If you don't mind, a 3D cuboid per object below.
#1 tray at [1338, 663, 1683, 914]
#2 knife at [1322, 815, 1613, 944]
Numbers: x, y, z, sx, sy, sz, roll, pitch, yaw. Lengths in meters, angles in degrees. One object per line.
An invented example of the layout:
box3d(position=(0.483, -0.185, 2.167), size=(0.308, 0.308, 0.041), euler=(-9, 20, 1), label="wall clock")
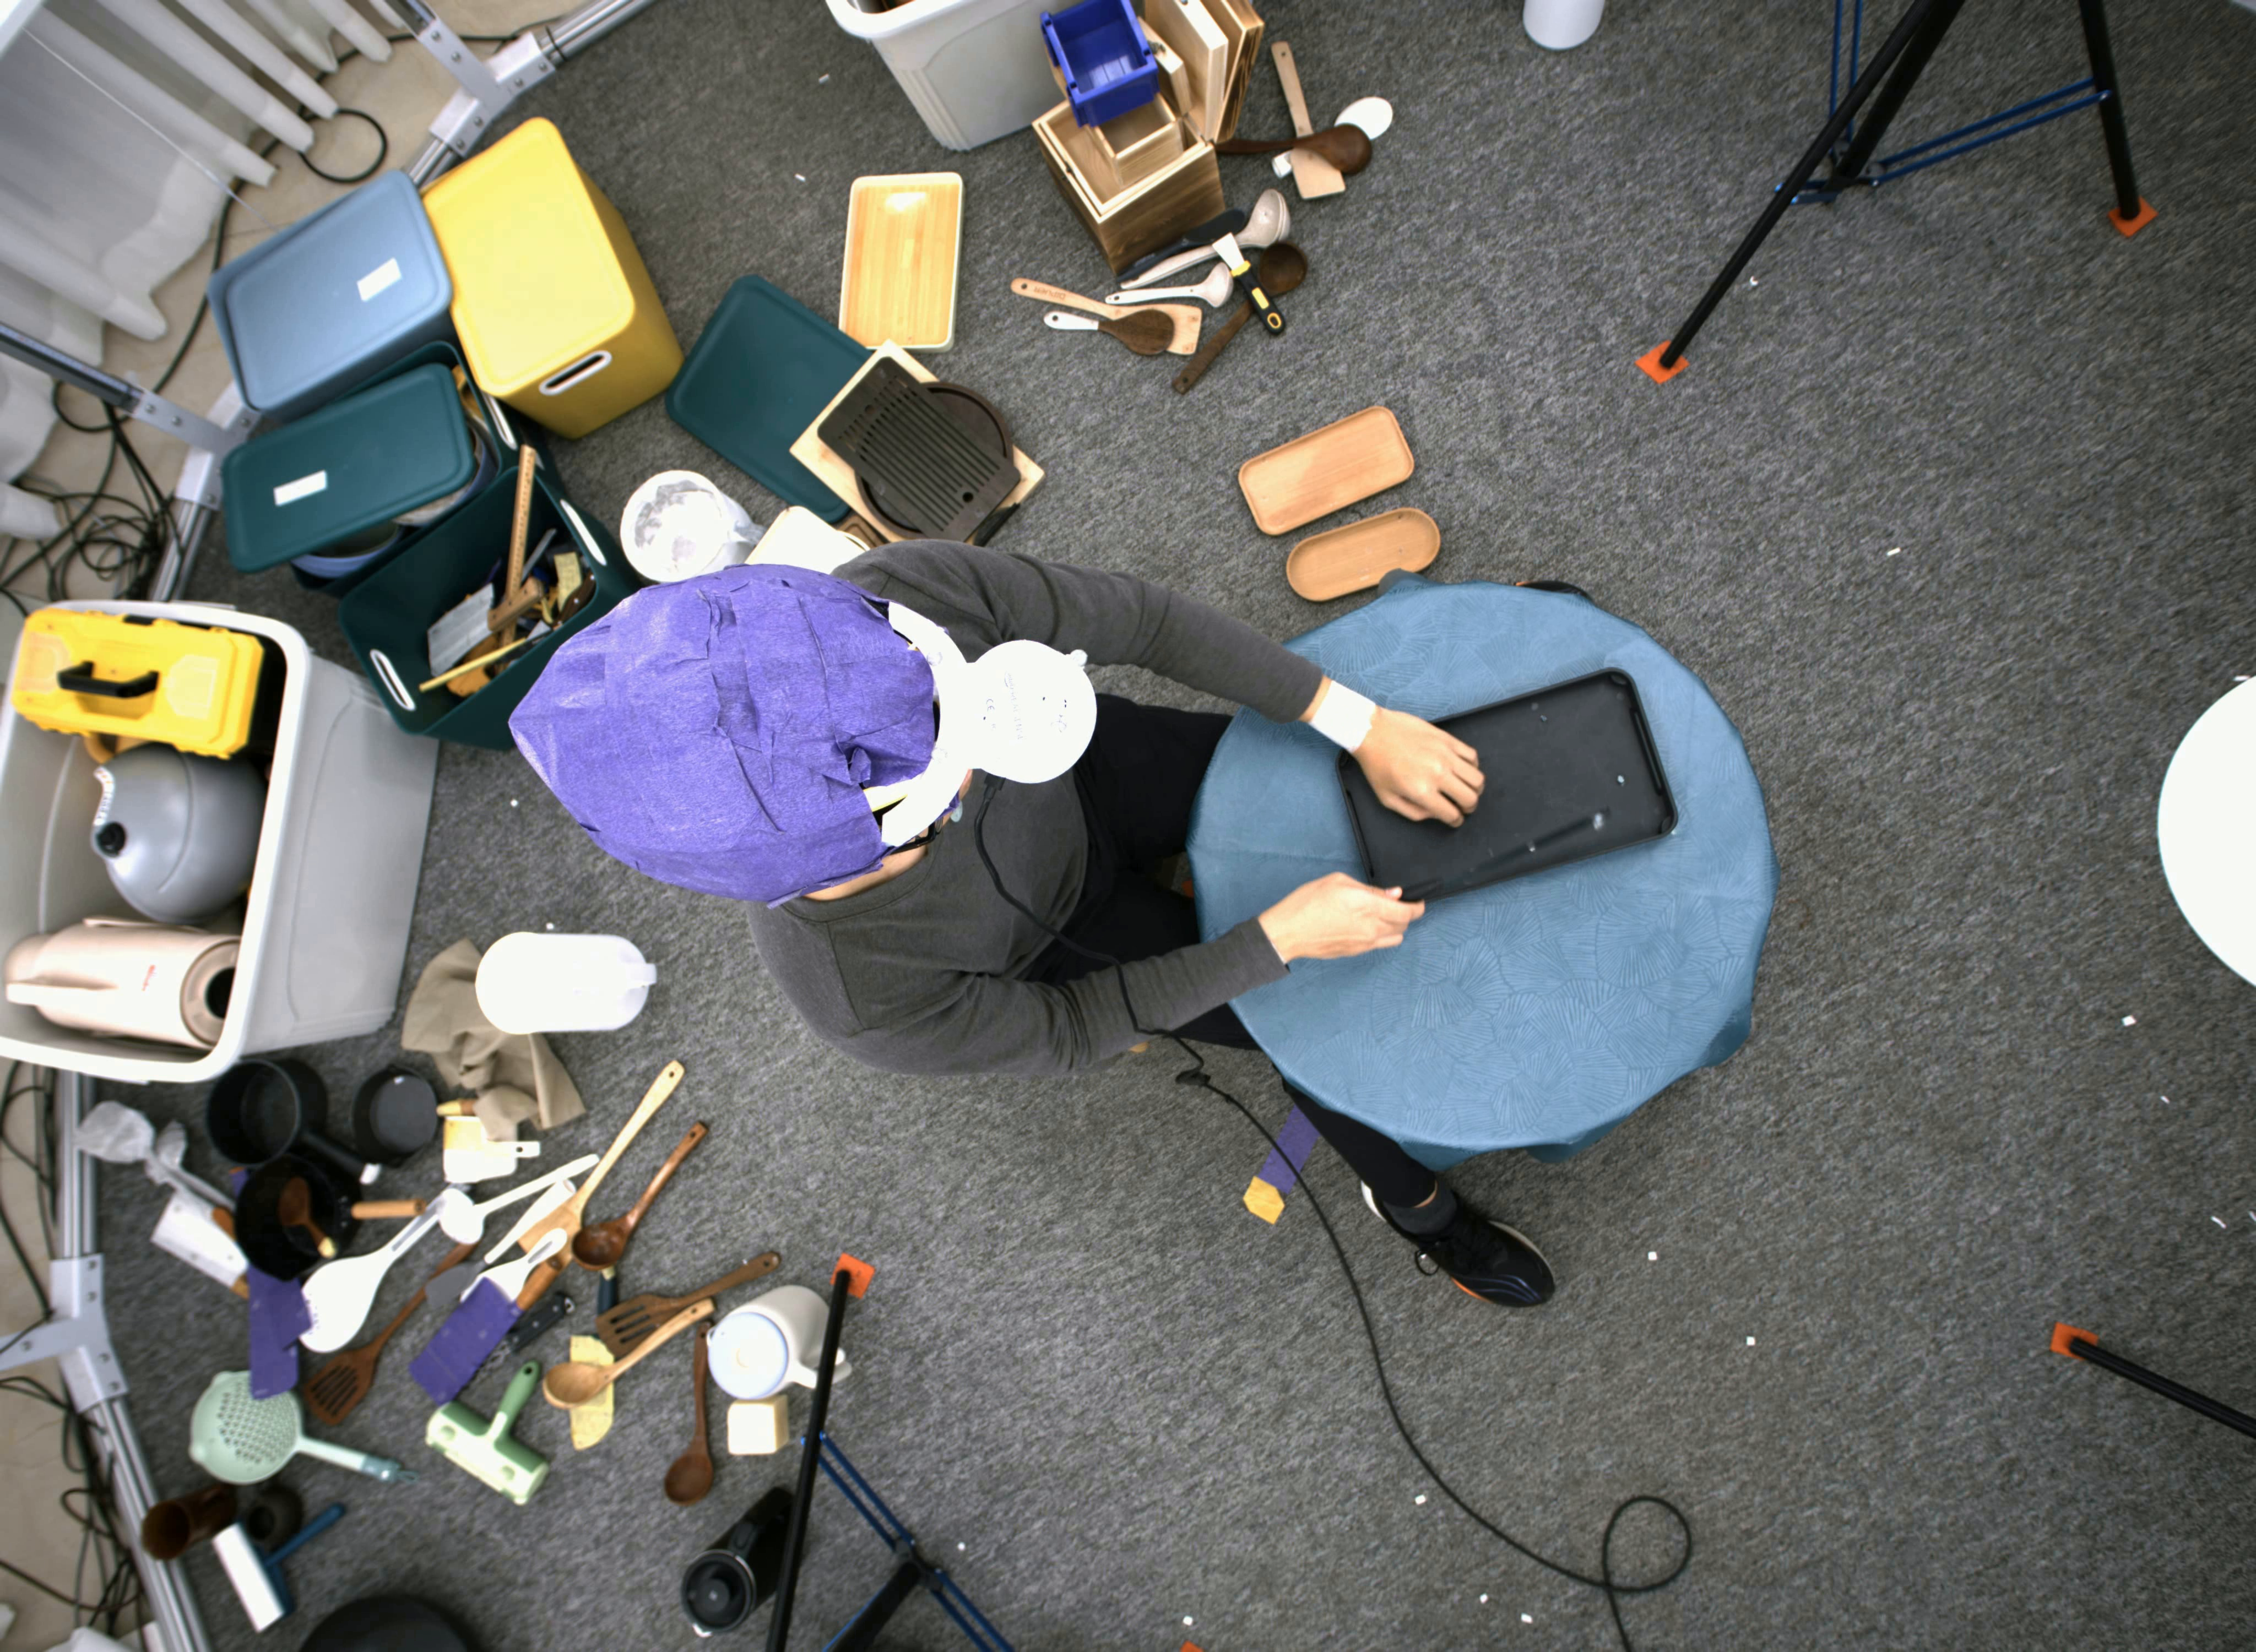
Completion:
box3d(position=(0.393, -0.039, 1.425), size=(0.320, 0.037, 0.183), euler=(-18, 83, 9), label="tray")
box3d(position=(0.331, 0.050, 1.349), size=(0.305, 0.081, 0.020), euler=(-24, 74, 13), label="knife")
